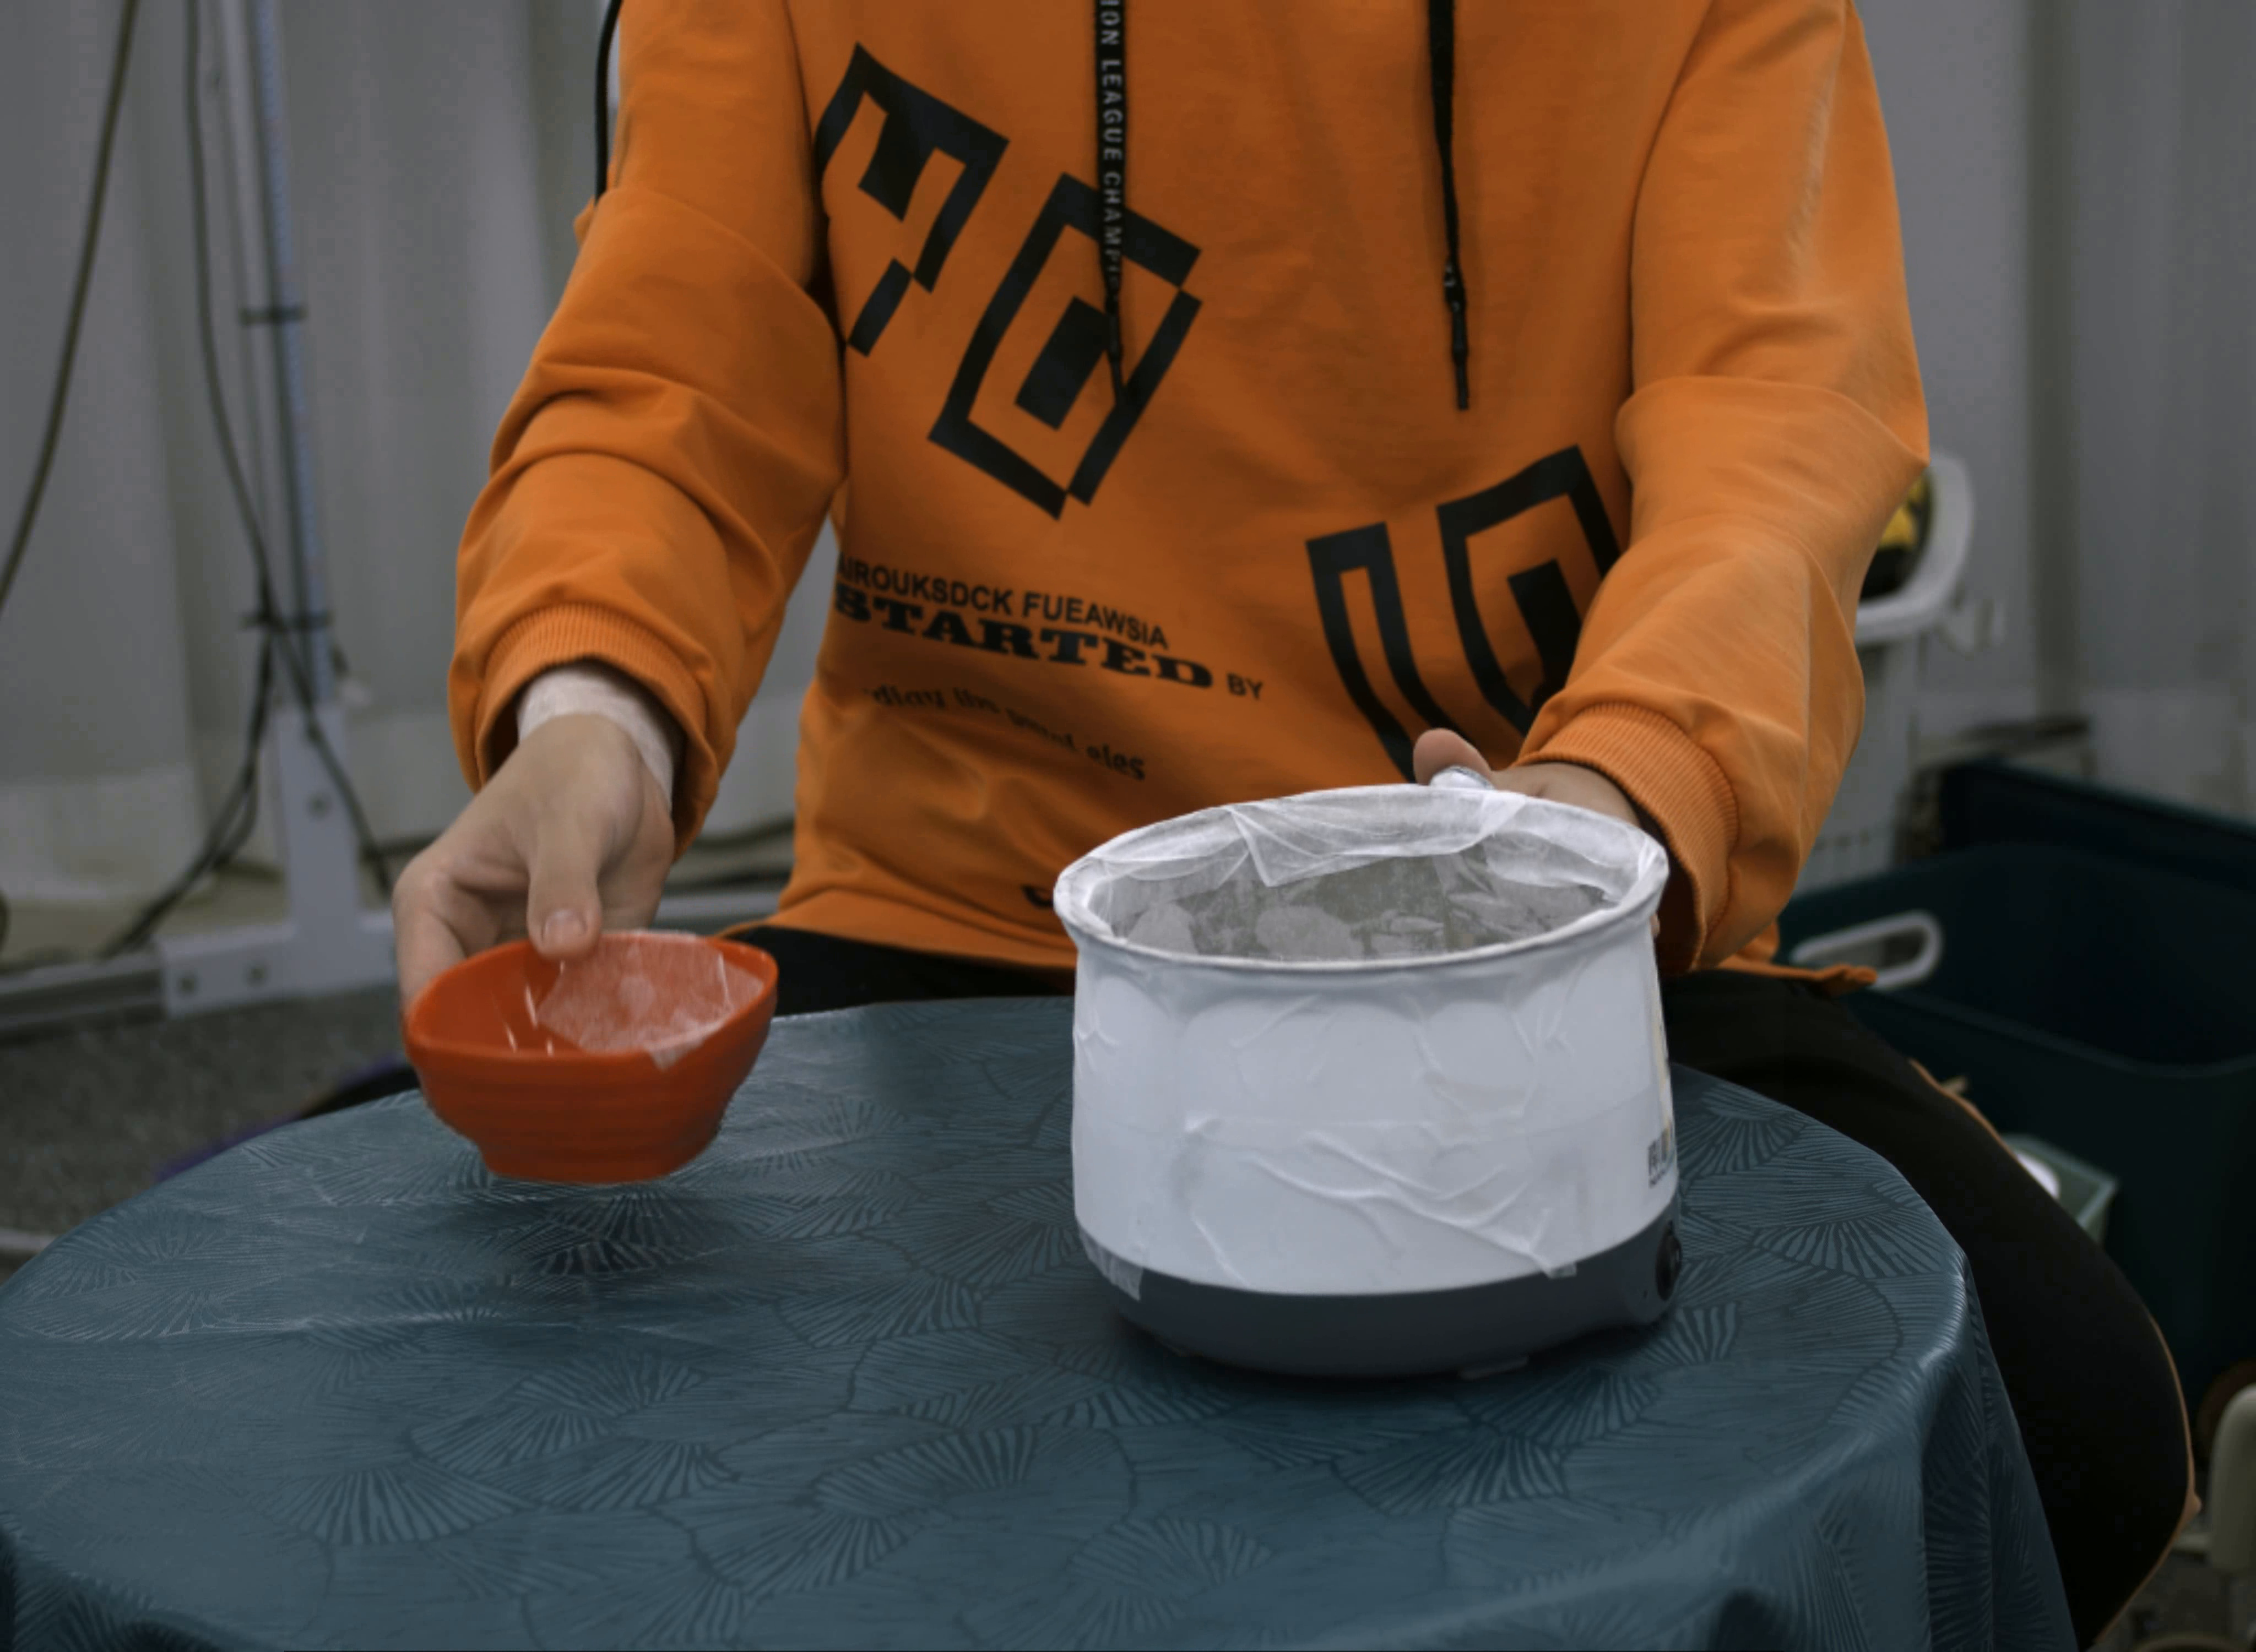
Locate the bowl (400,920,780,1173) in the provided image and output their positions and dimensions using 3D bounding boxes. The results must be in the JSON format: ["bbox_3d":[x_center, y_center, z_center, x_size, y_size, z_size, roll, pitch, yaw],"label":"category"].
[{"bbox_3d":[-0.160,0.069,1.660,0.118,0.051,0.120,-4,17,1],"label":"bowl"}]

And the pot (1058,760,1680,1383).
[{"bbox_3d":[0.079,0.066,1.610,0.179,0.136,0.235,2,17,18],"label":"pot"}]
